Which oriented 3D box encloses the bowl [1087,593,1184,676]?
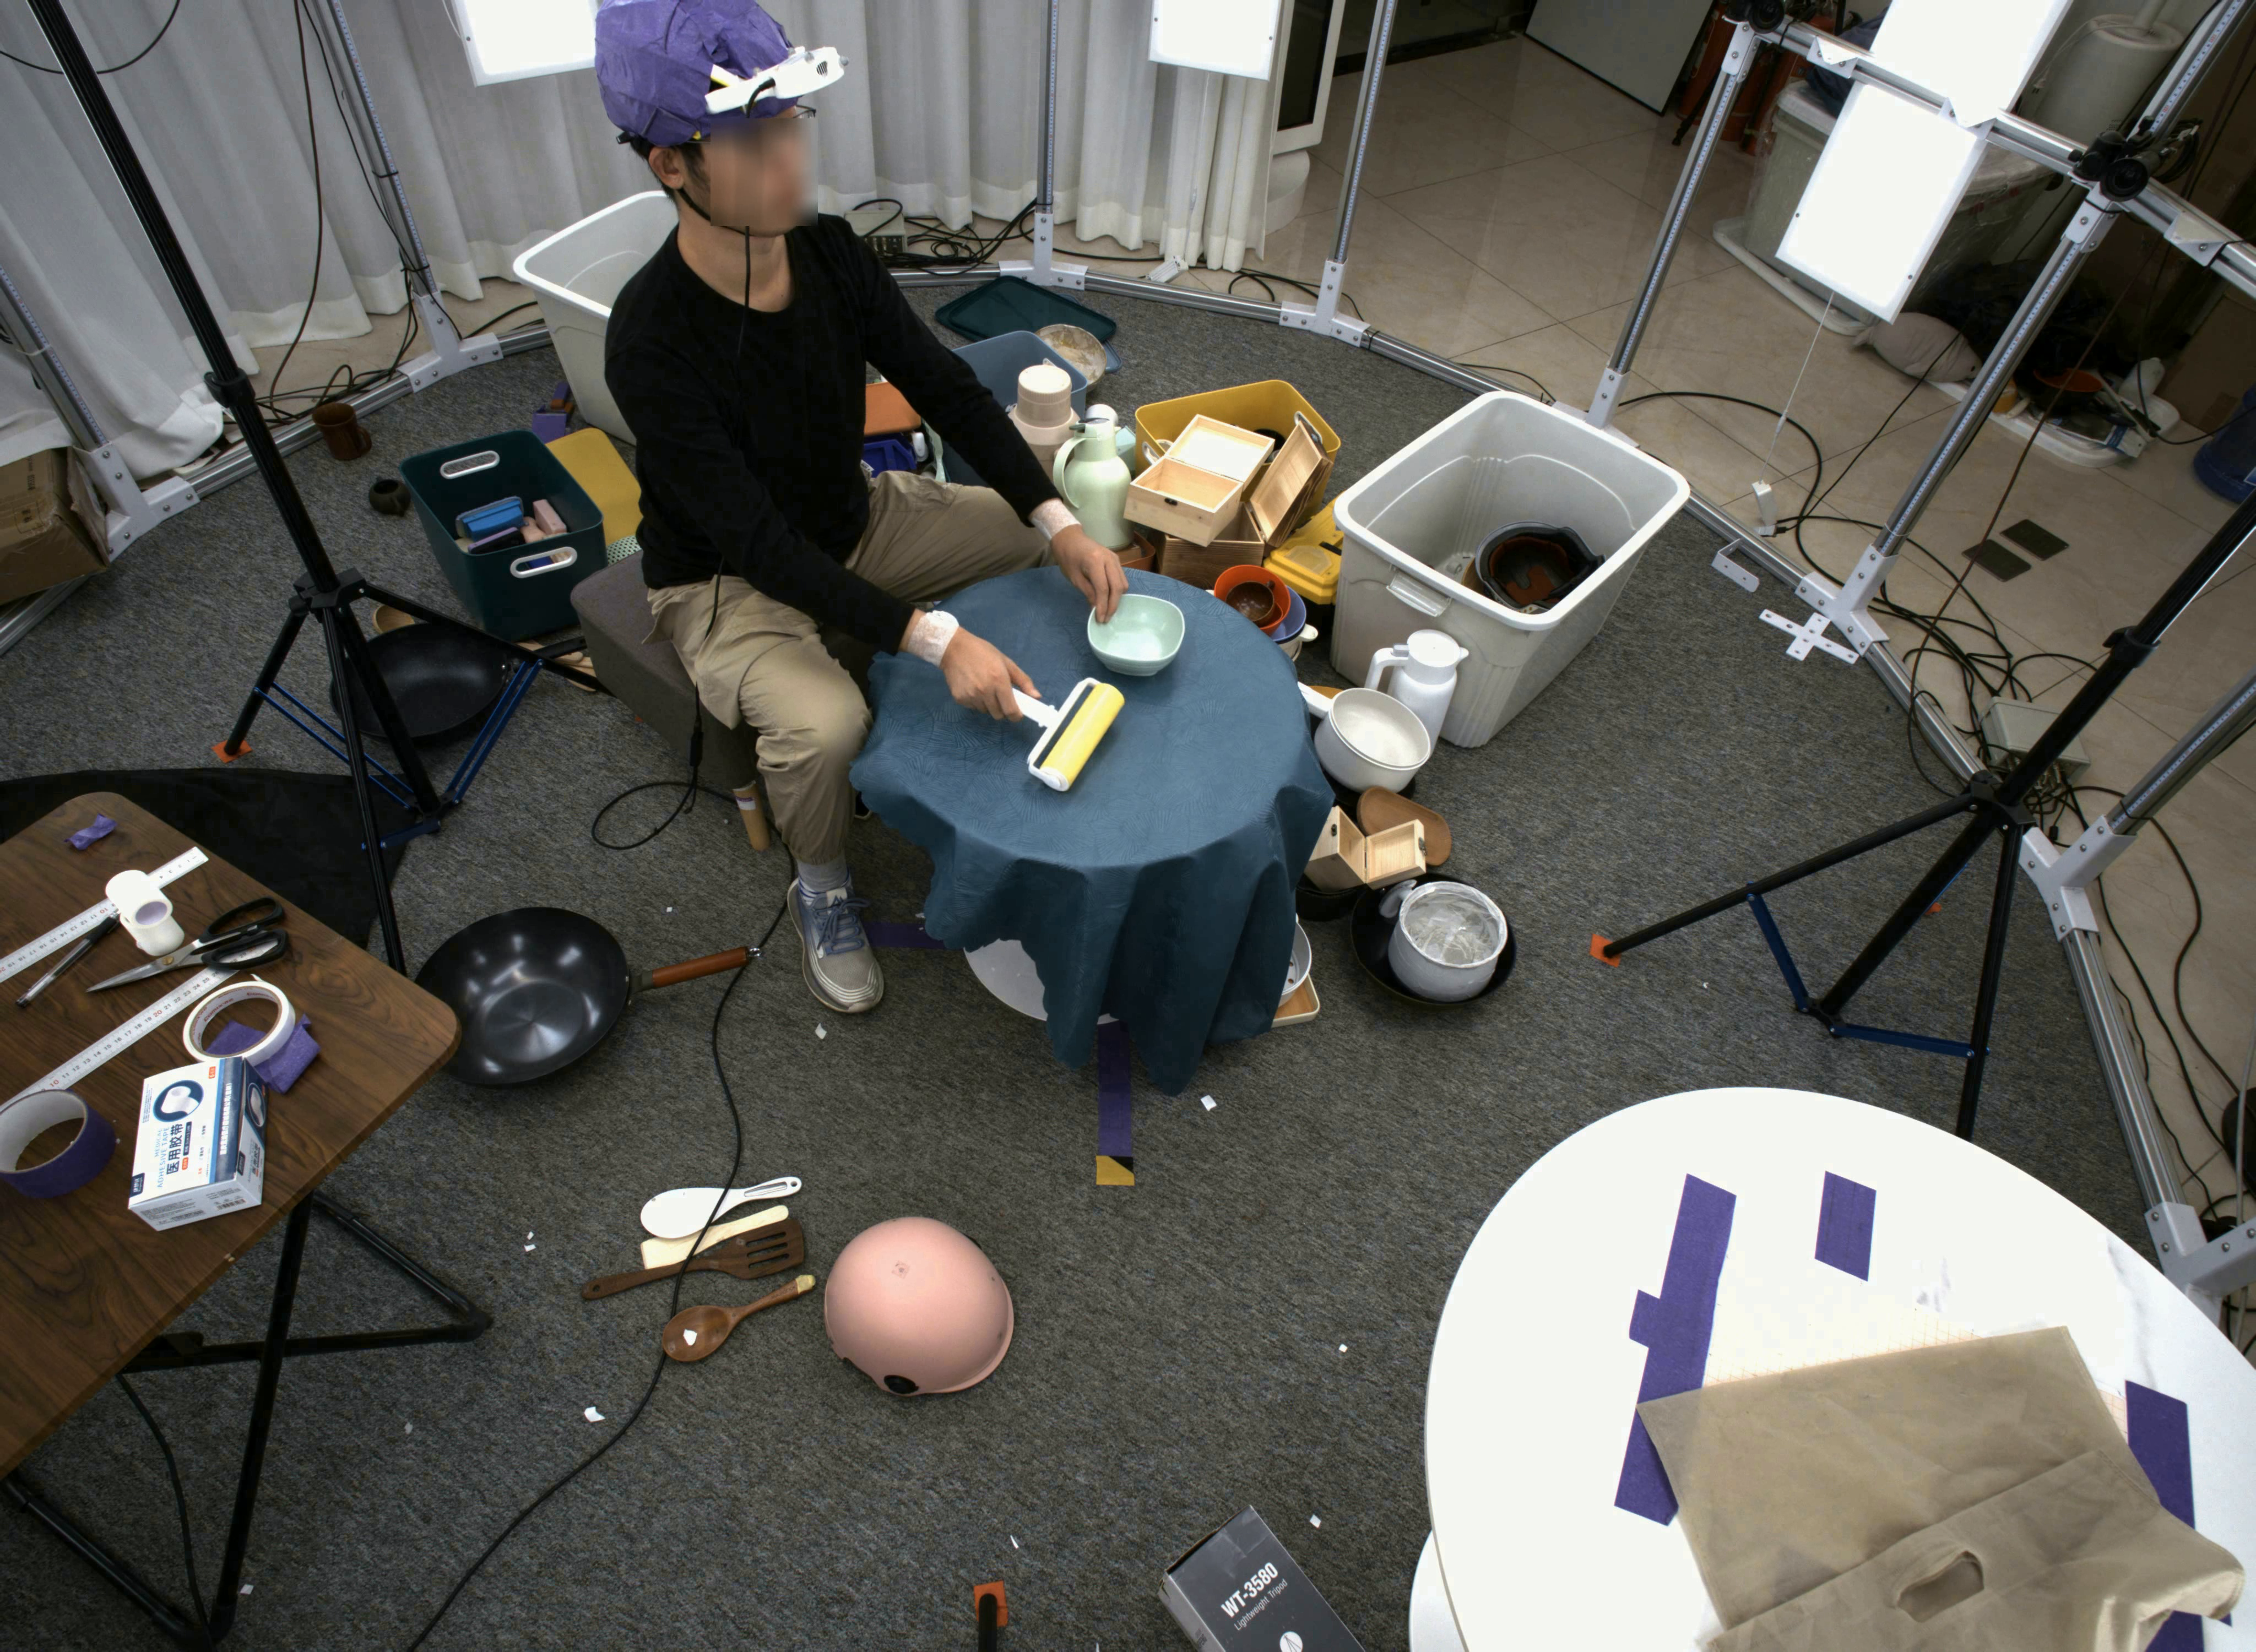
[{"bbox_3d":[0.009,-0.269,1.867,0.151,0.057,0.155,3,50,-4],"label":"bowl"}]

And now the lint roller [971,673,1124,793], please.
[{"bbox_3d":[-0.122,-0.157,1.727,0.191,0.050,0.177,33,58,-5],"label":"lint roller"}]
